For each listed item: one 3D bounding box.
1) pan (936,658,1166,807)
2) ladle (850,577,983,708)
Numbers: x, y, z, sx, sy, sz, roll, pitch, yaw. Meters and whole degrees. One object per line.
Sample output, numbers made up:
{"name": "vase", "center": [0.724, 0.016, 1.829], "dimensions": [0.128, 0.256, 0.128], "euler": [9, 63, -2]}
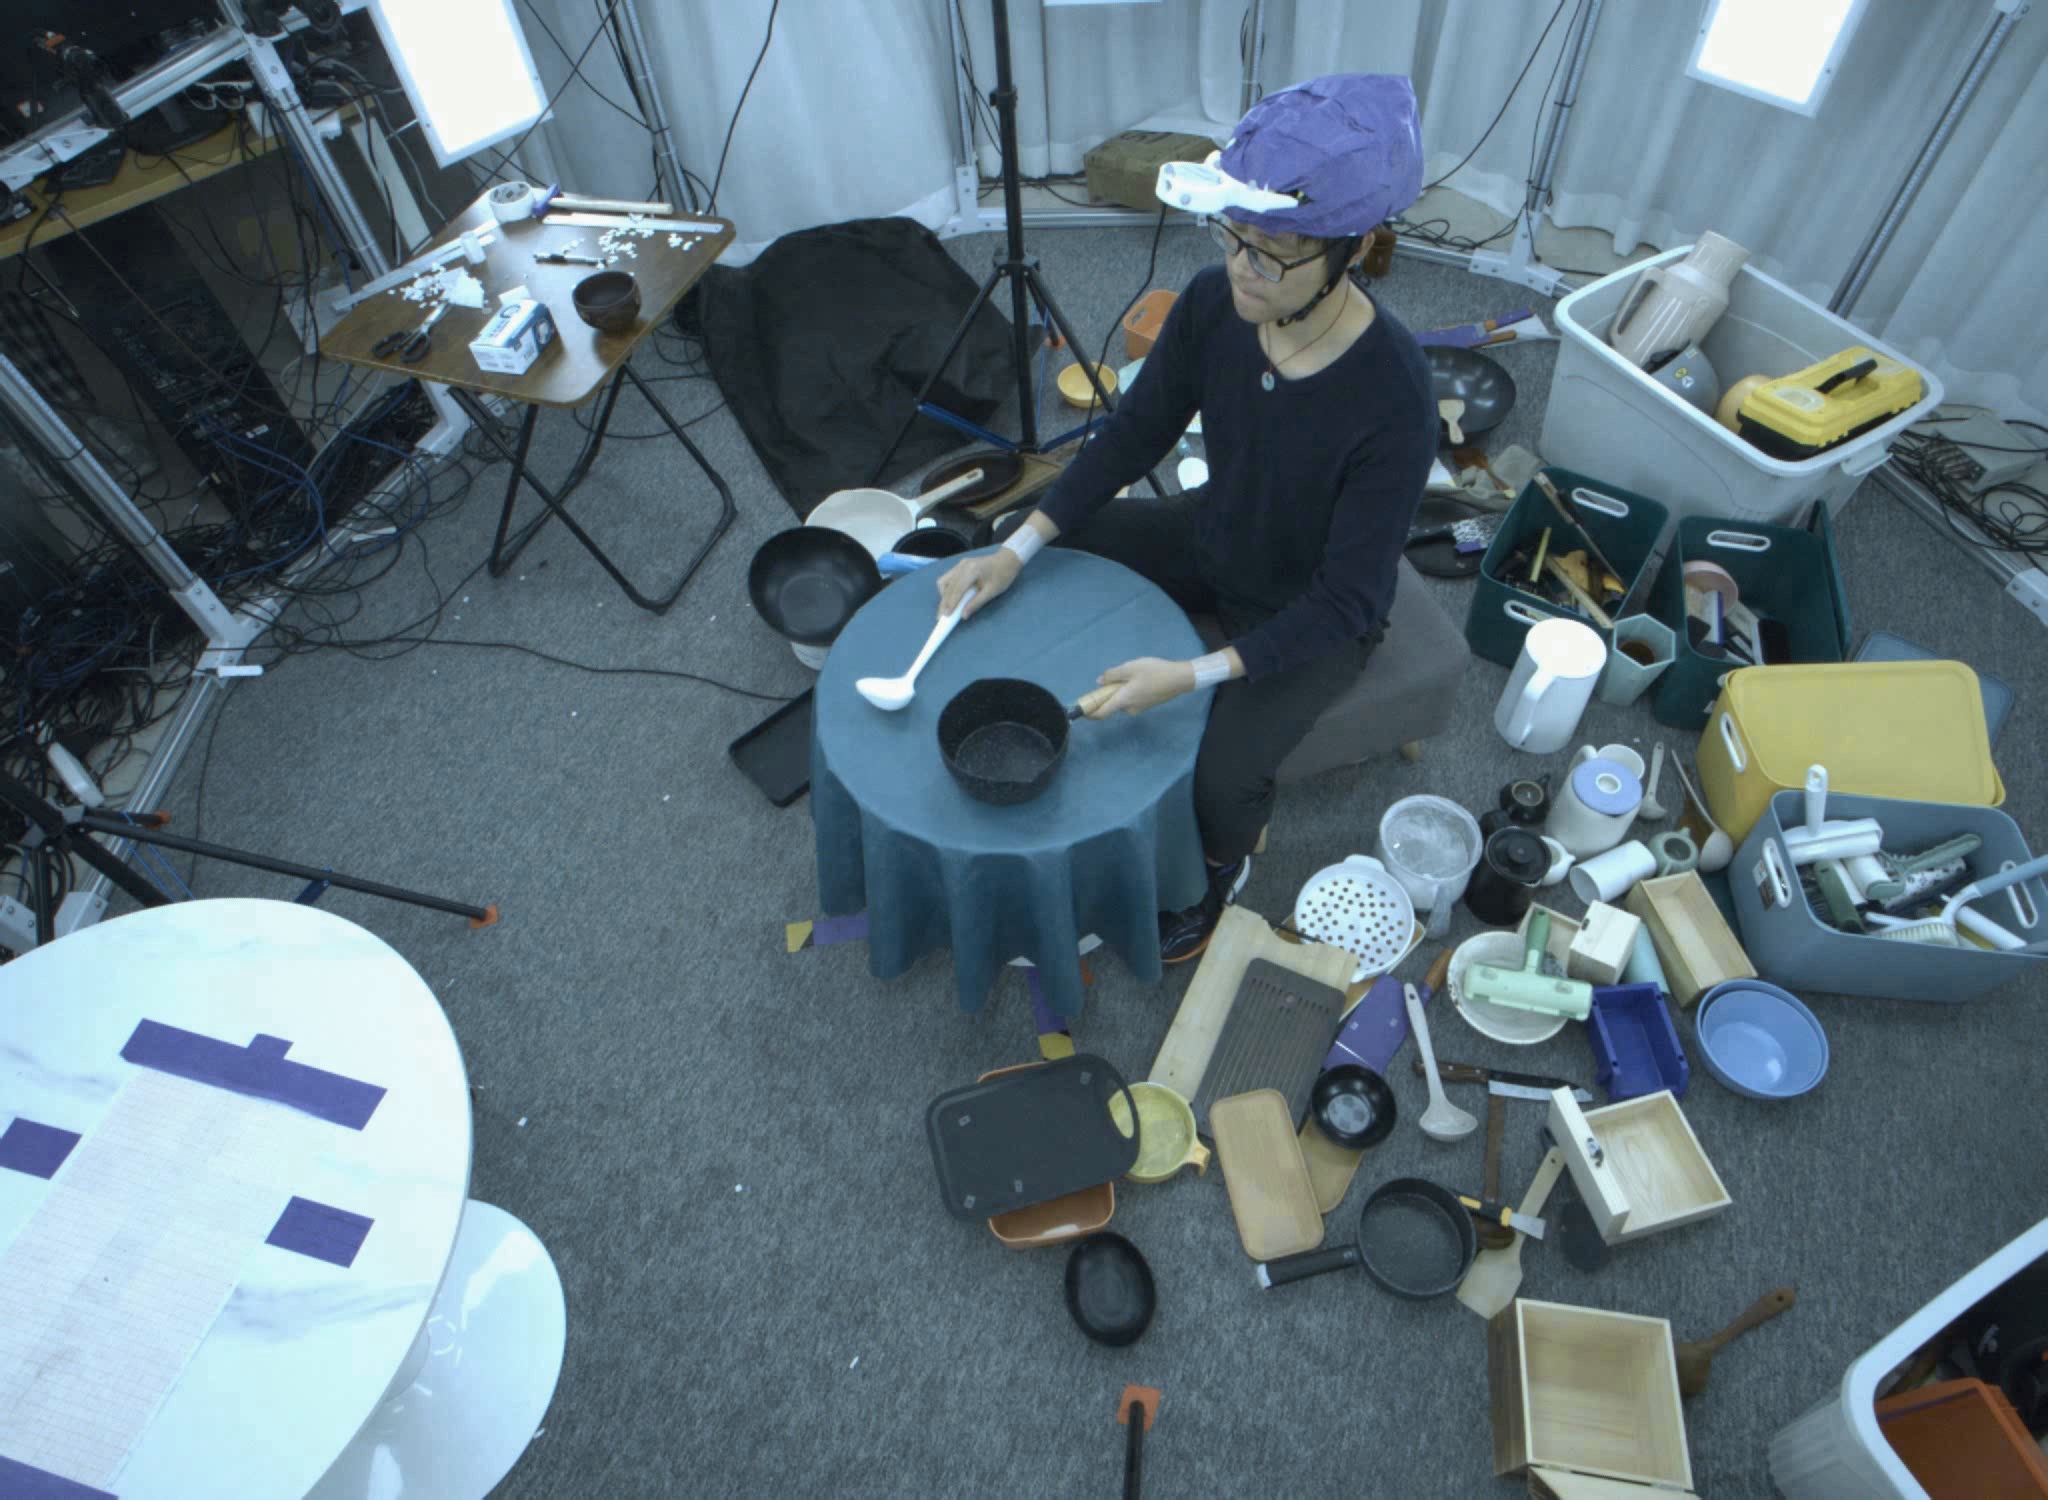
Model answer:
{"name": "pan", "center": [0.044, -0.039, 1.748], "dimensions": [0.345, 0.109, 0.203], "euler": [-22, 56, -14]}
{"name": "ladle", "center": [-0.156, -0.172, 1.873], "dimensions": [0.088, 0.071, 0.293], "euler": [16, 57, 31]}
